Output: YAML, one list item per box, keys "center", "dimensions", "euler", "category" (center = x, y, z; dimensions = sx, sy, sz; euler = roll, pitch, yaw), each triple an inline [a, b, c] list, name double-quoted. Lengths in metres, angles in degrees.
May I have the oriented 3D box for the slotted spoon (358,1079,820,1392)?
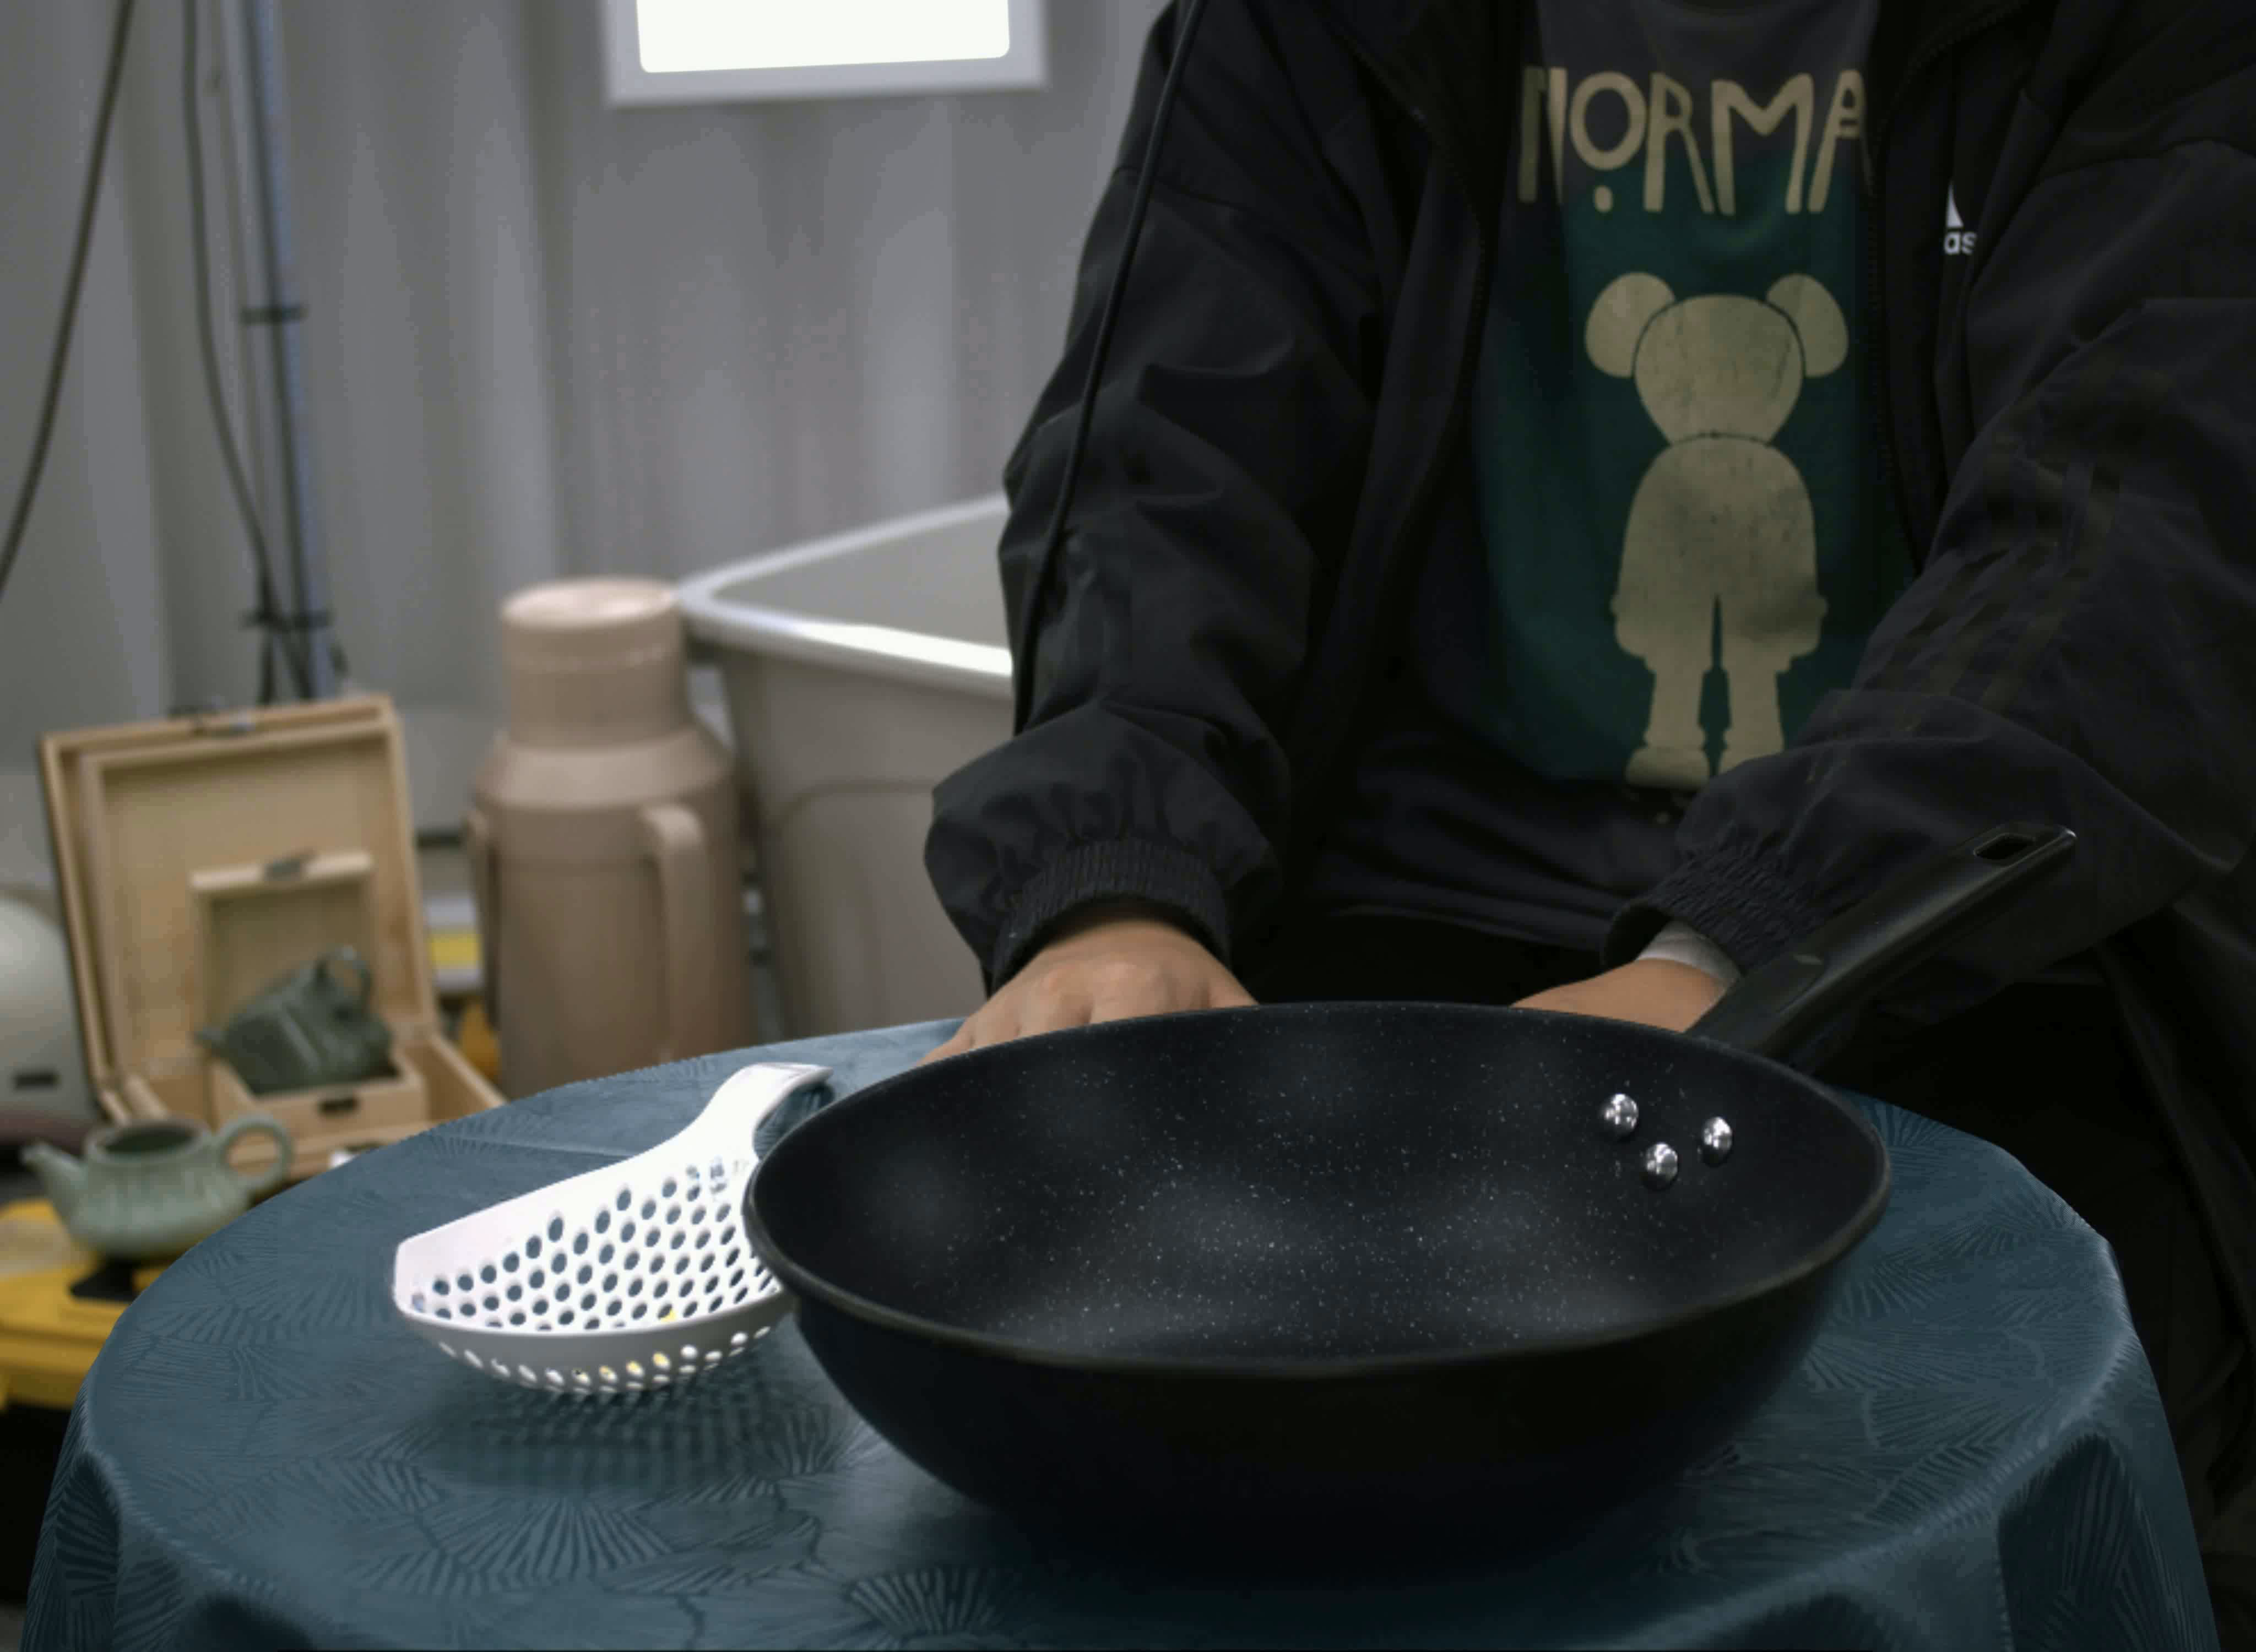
- center: [-0.131, 0.111, 1.673]
  dimensions: [0.136, 0.050, 0.350]
  euler: [-2, 15, 10]
  category: "slotted spoon"

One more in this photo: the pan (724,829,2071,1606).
- center: [0.108, 0.106, 1.522]
  dimensions: [0.476, 0.111, 0.312]
  euler: [-17, 22, -41]
  category: "pan"
